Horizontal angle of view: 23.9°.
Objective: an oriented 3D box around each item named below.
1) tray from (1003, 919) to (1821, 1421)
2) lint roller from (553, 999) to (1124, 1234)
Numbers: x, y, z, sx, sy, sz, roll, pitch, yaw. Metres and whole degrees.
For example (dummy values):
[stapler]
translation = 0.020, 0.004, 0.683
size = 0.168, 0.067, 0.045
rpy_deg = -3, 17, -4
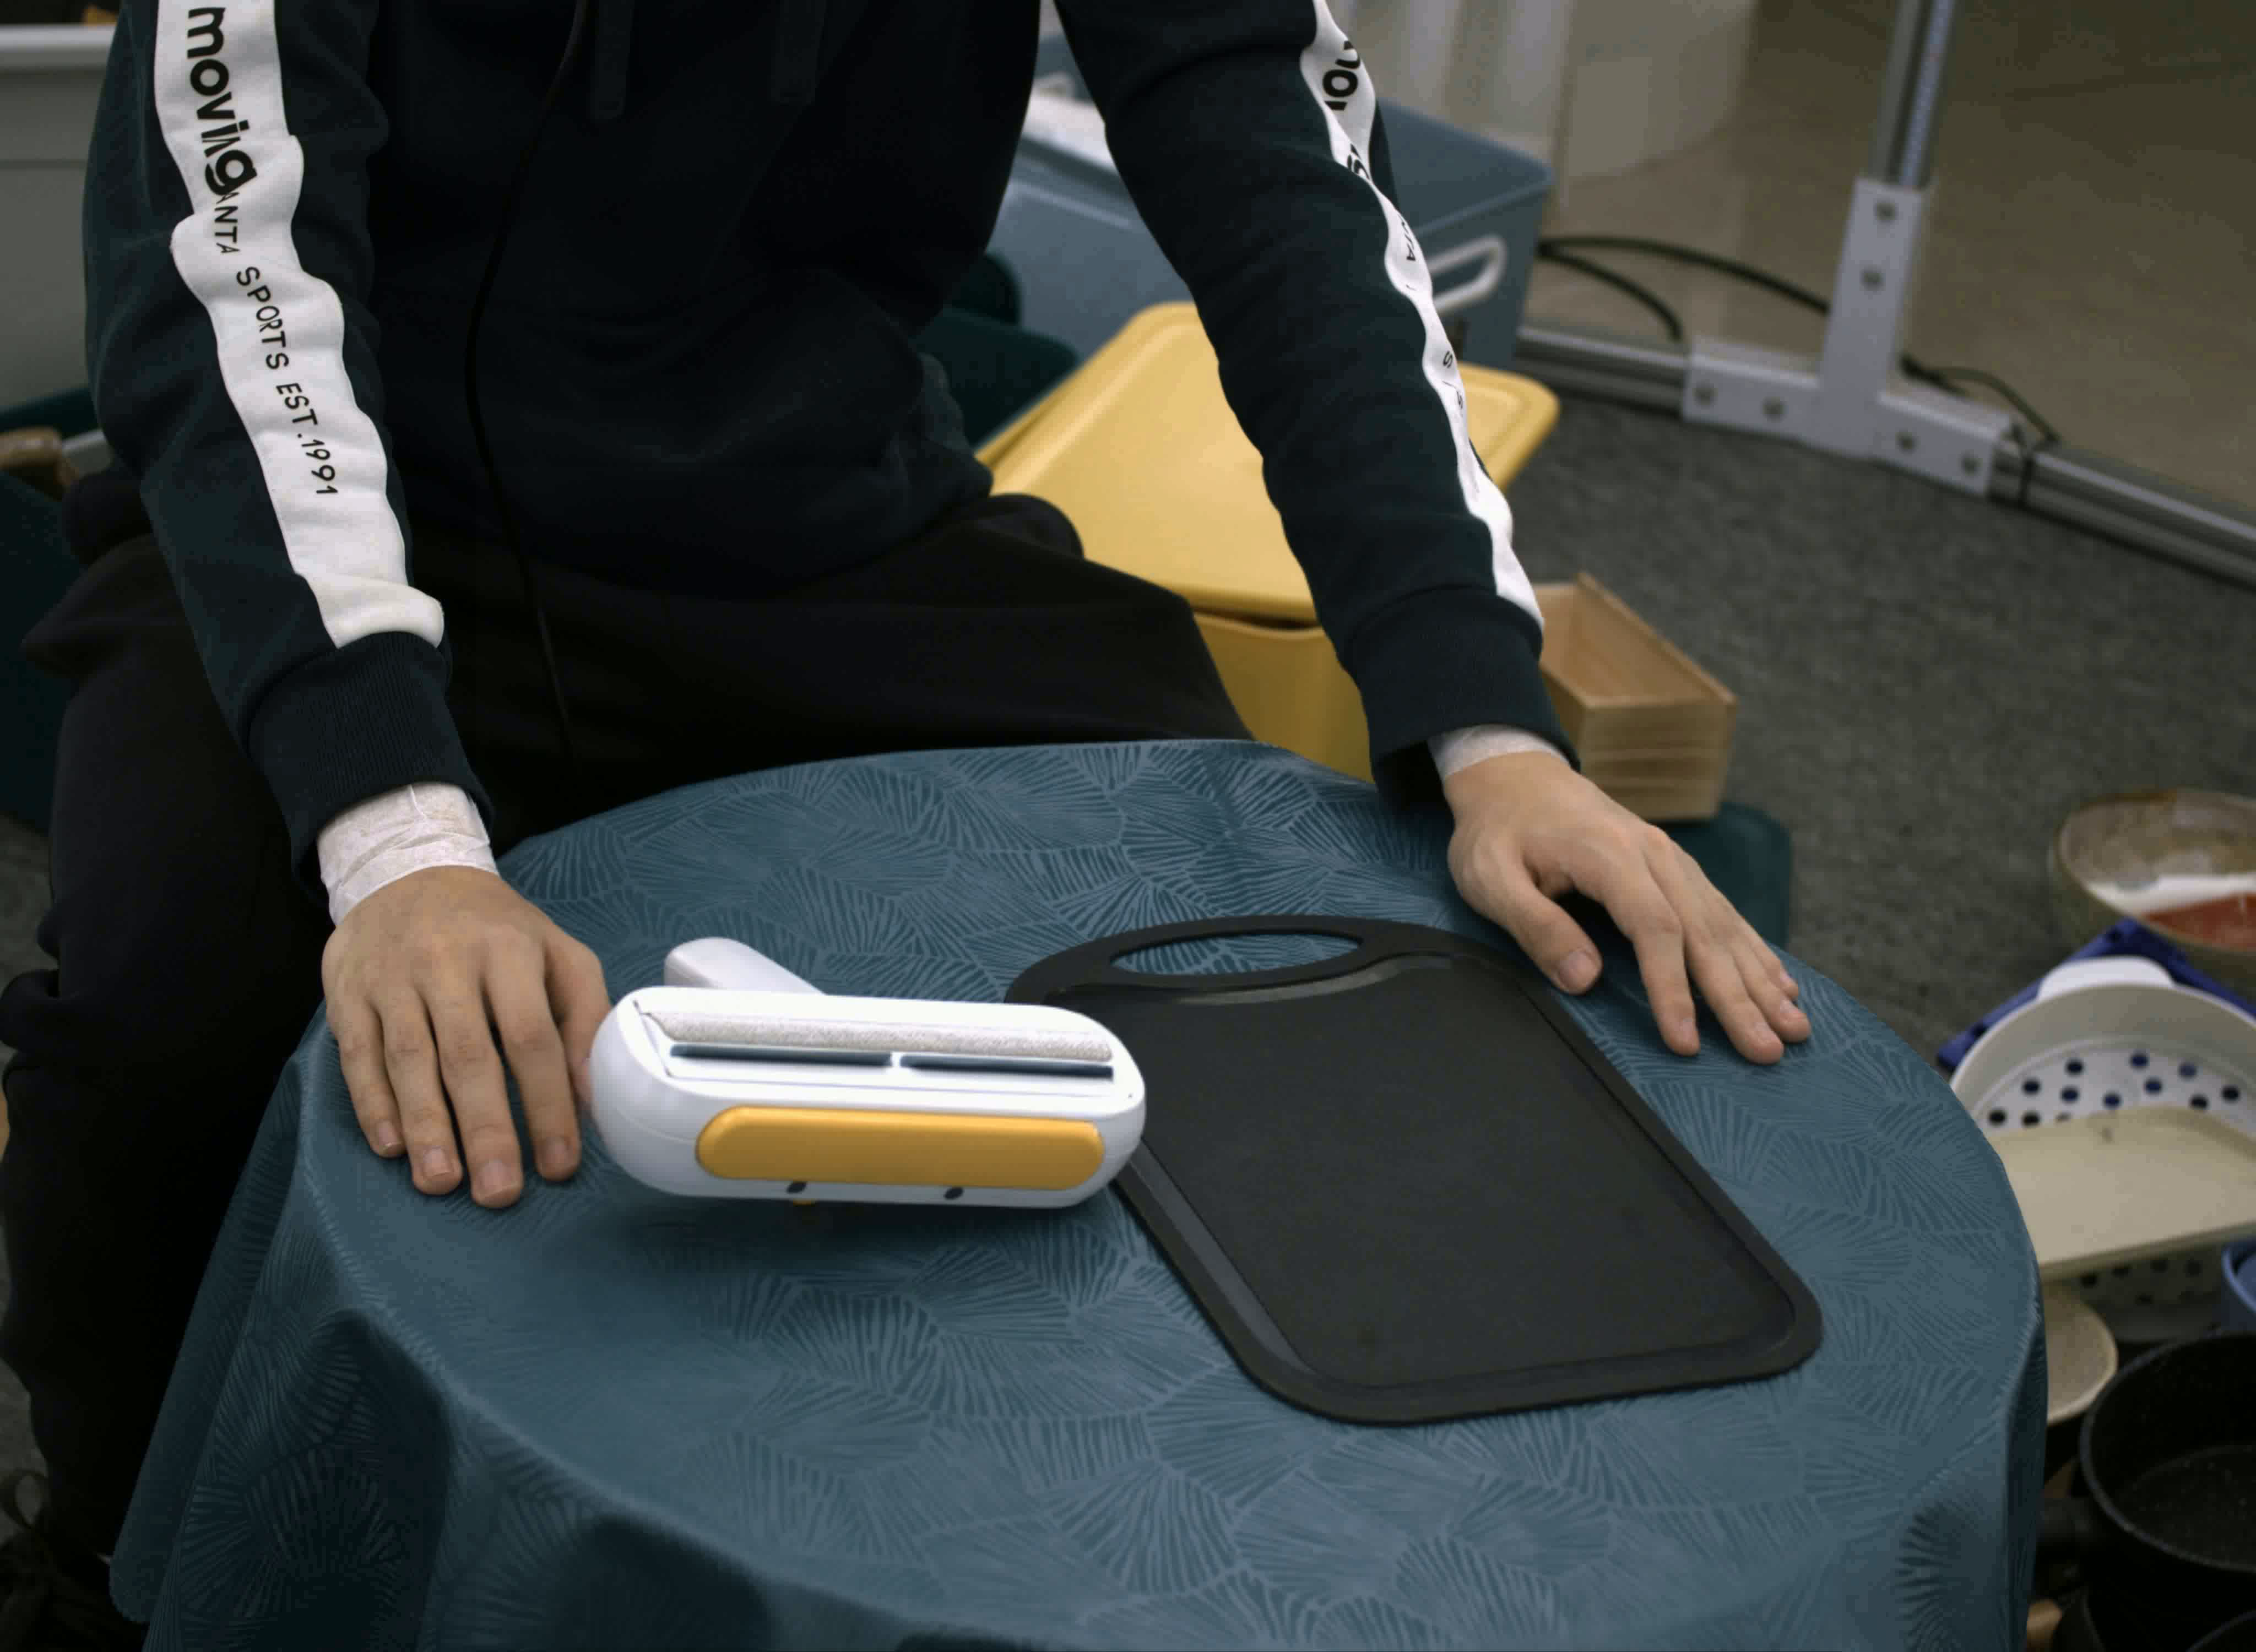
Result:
[tray]
translation = 0.089, 0.110, 1.839
size = 0.210, 0.010, 0.328
rpy_deg = -5, 29, -21
[lint roller]
translation = -0.115, 0.089, 1.808
size = 0.191, 0.074, 0.193
rpy_deg = 4, 11, -21
